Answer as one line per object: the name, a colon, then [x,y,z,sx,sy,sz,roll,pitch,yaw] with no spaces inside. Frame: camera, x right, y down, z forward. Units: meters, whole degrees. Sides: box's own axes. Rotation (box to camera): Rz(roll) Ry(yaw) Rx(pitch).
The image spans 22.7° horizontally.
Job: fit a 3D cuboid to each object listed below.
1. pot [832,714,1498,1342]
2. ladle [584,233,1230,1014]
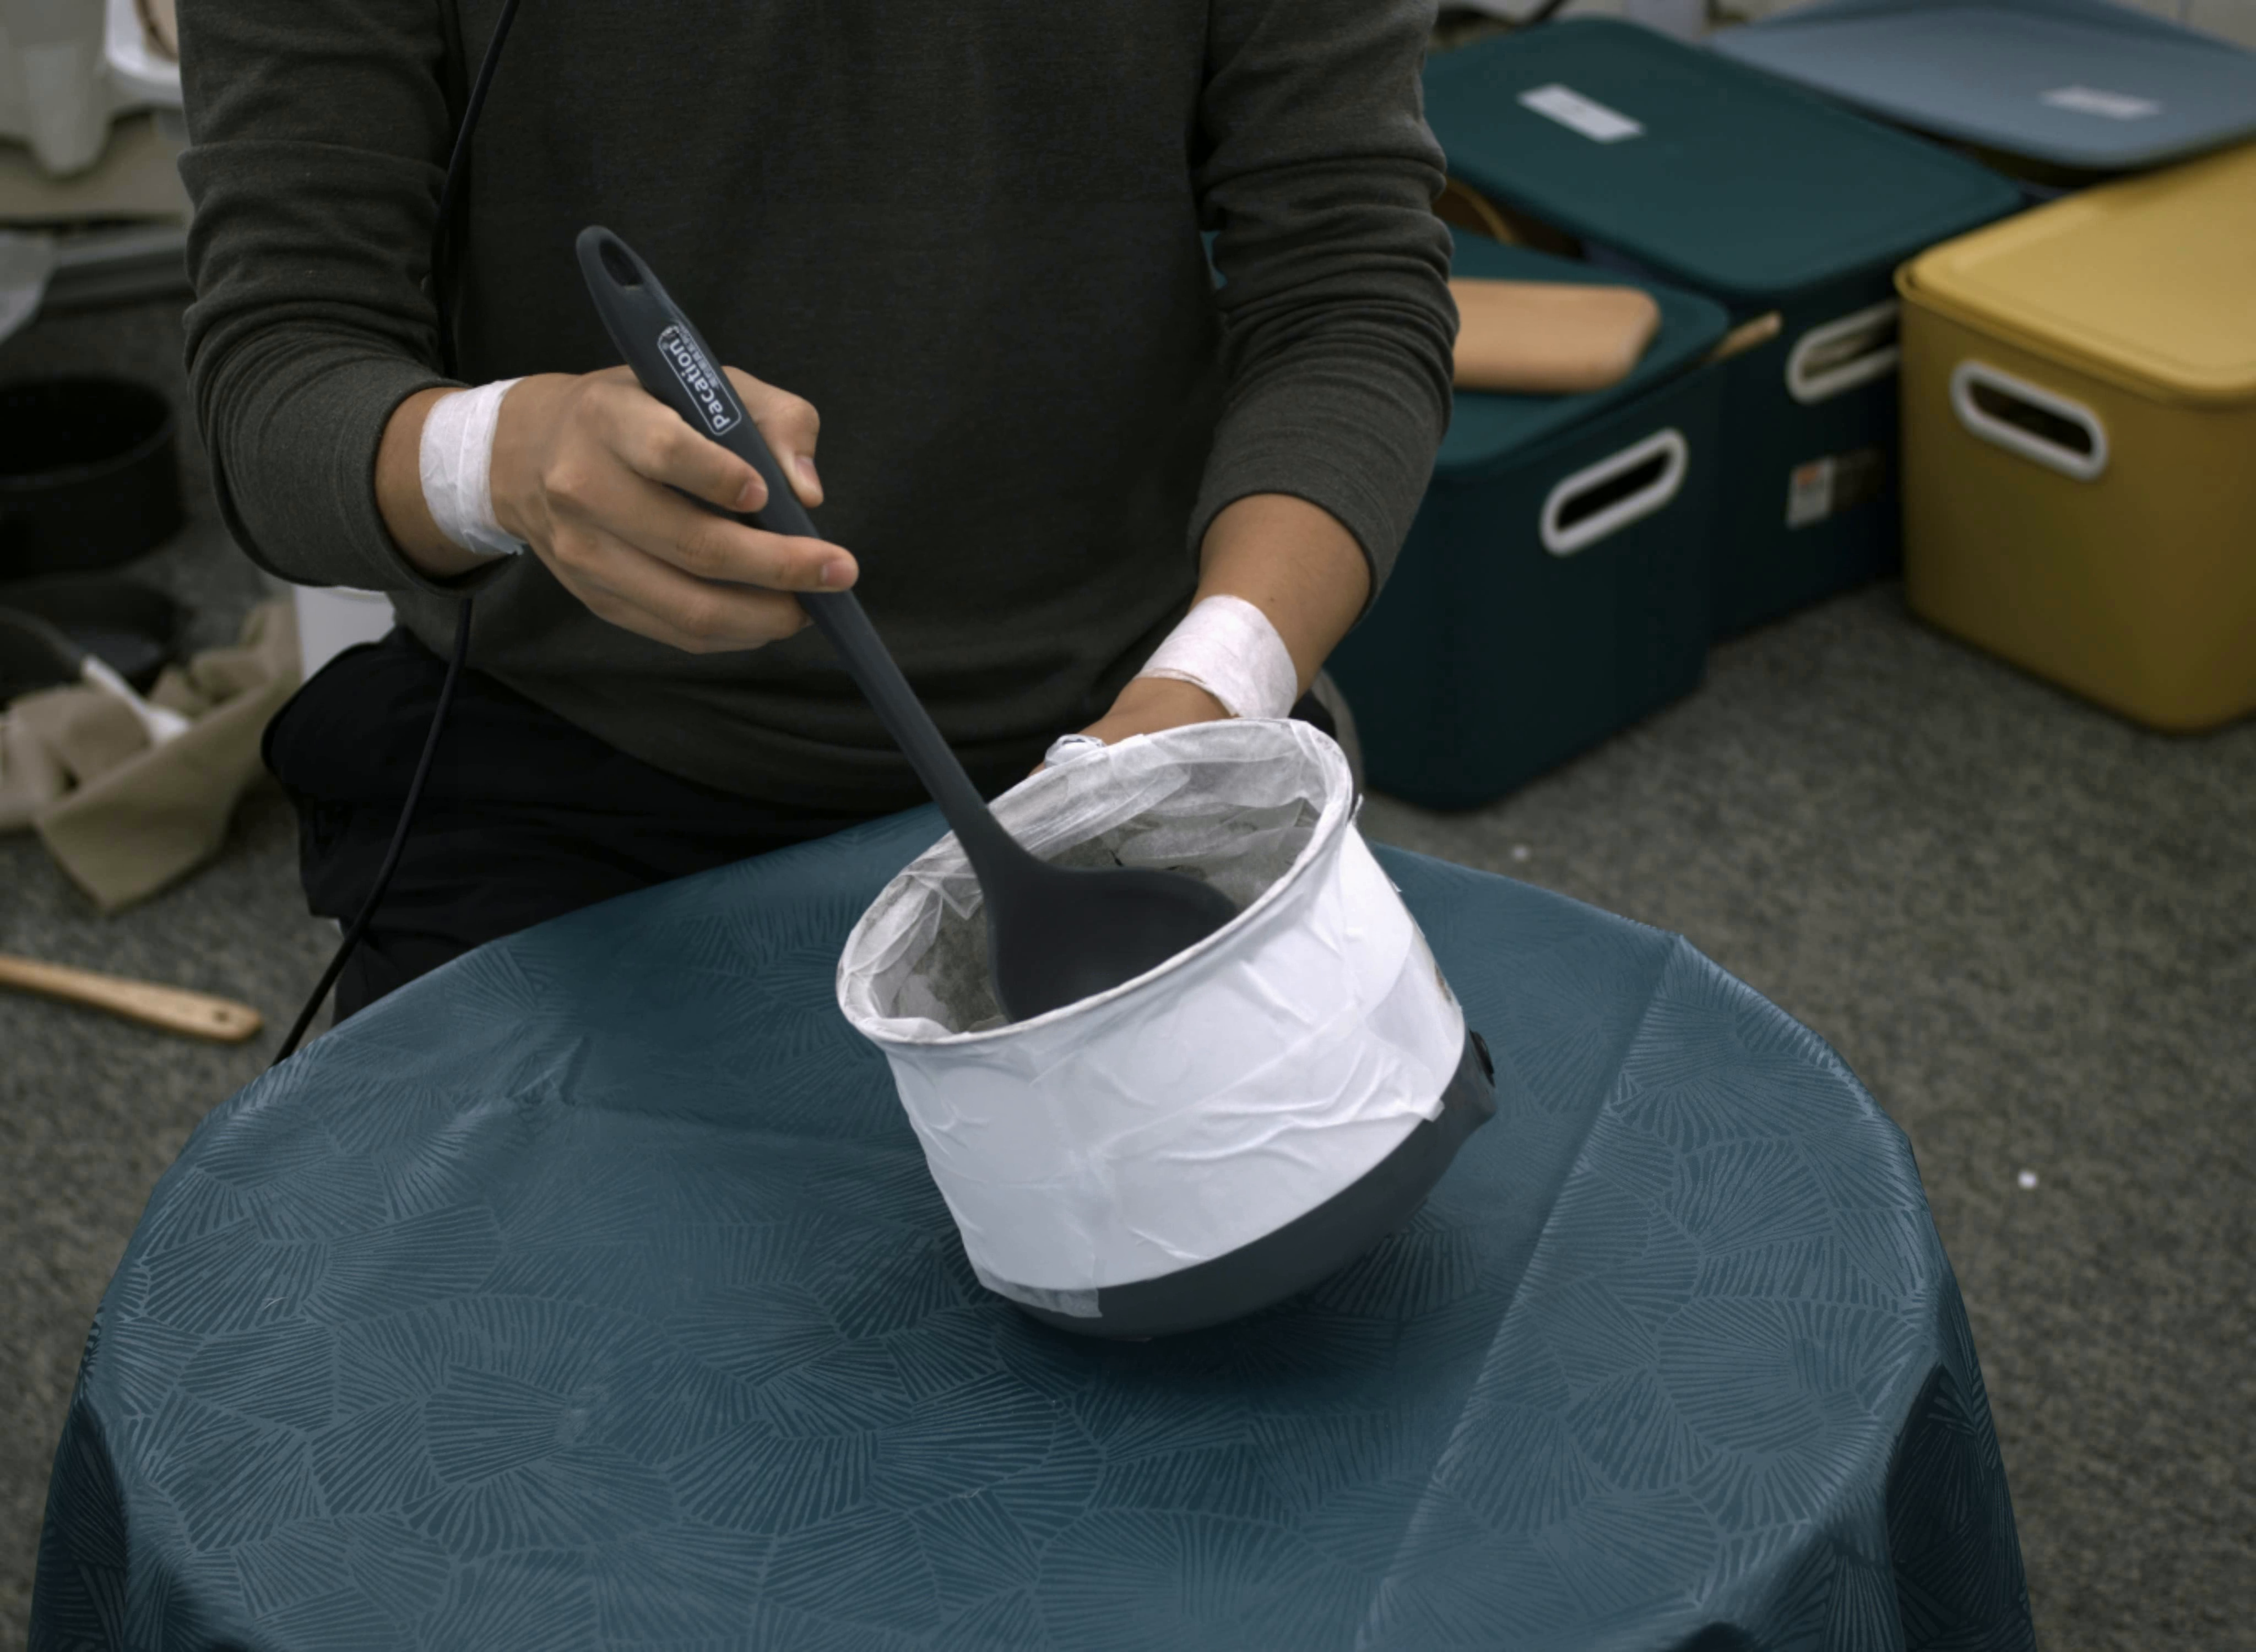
pot: [0.010,0.056,1.807,0.178,0.135,0.236,-24,23,4]
ladle: [-0.072,-0.057,1.773,0.087,0.313,0.063,-40,14,-35]
